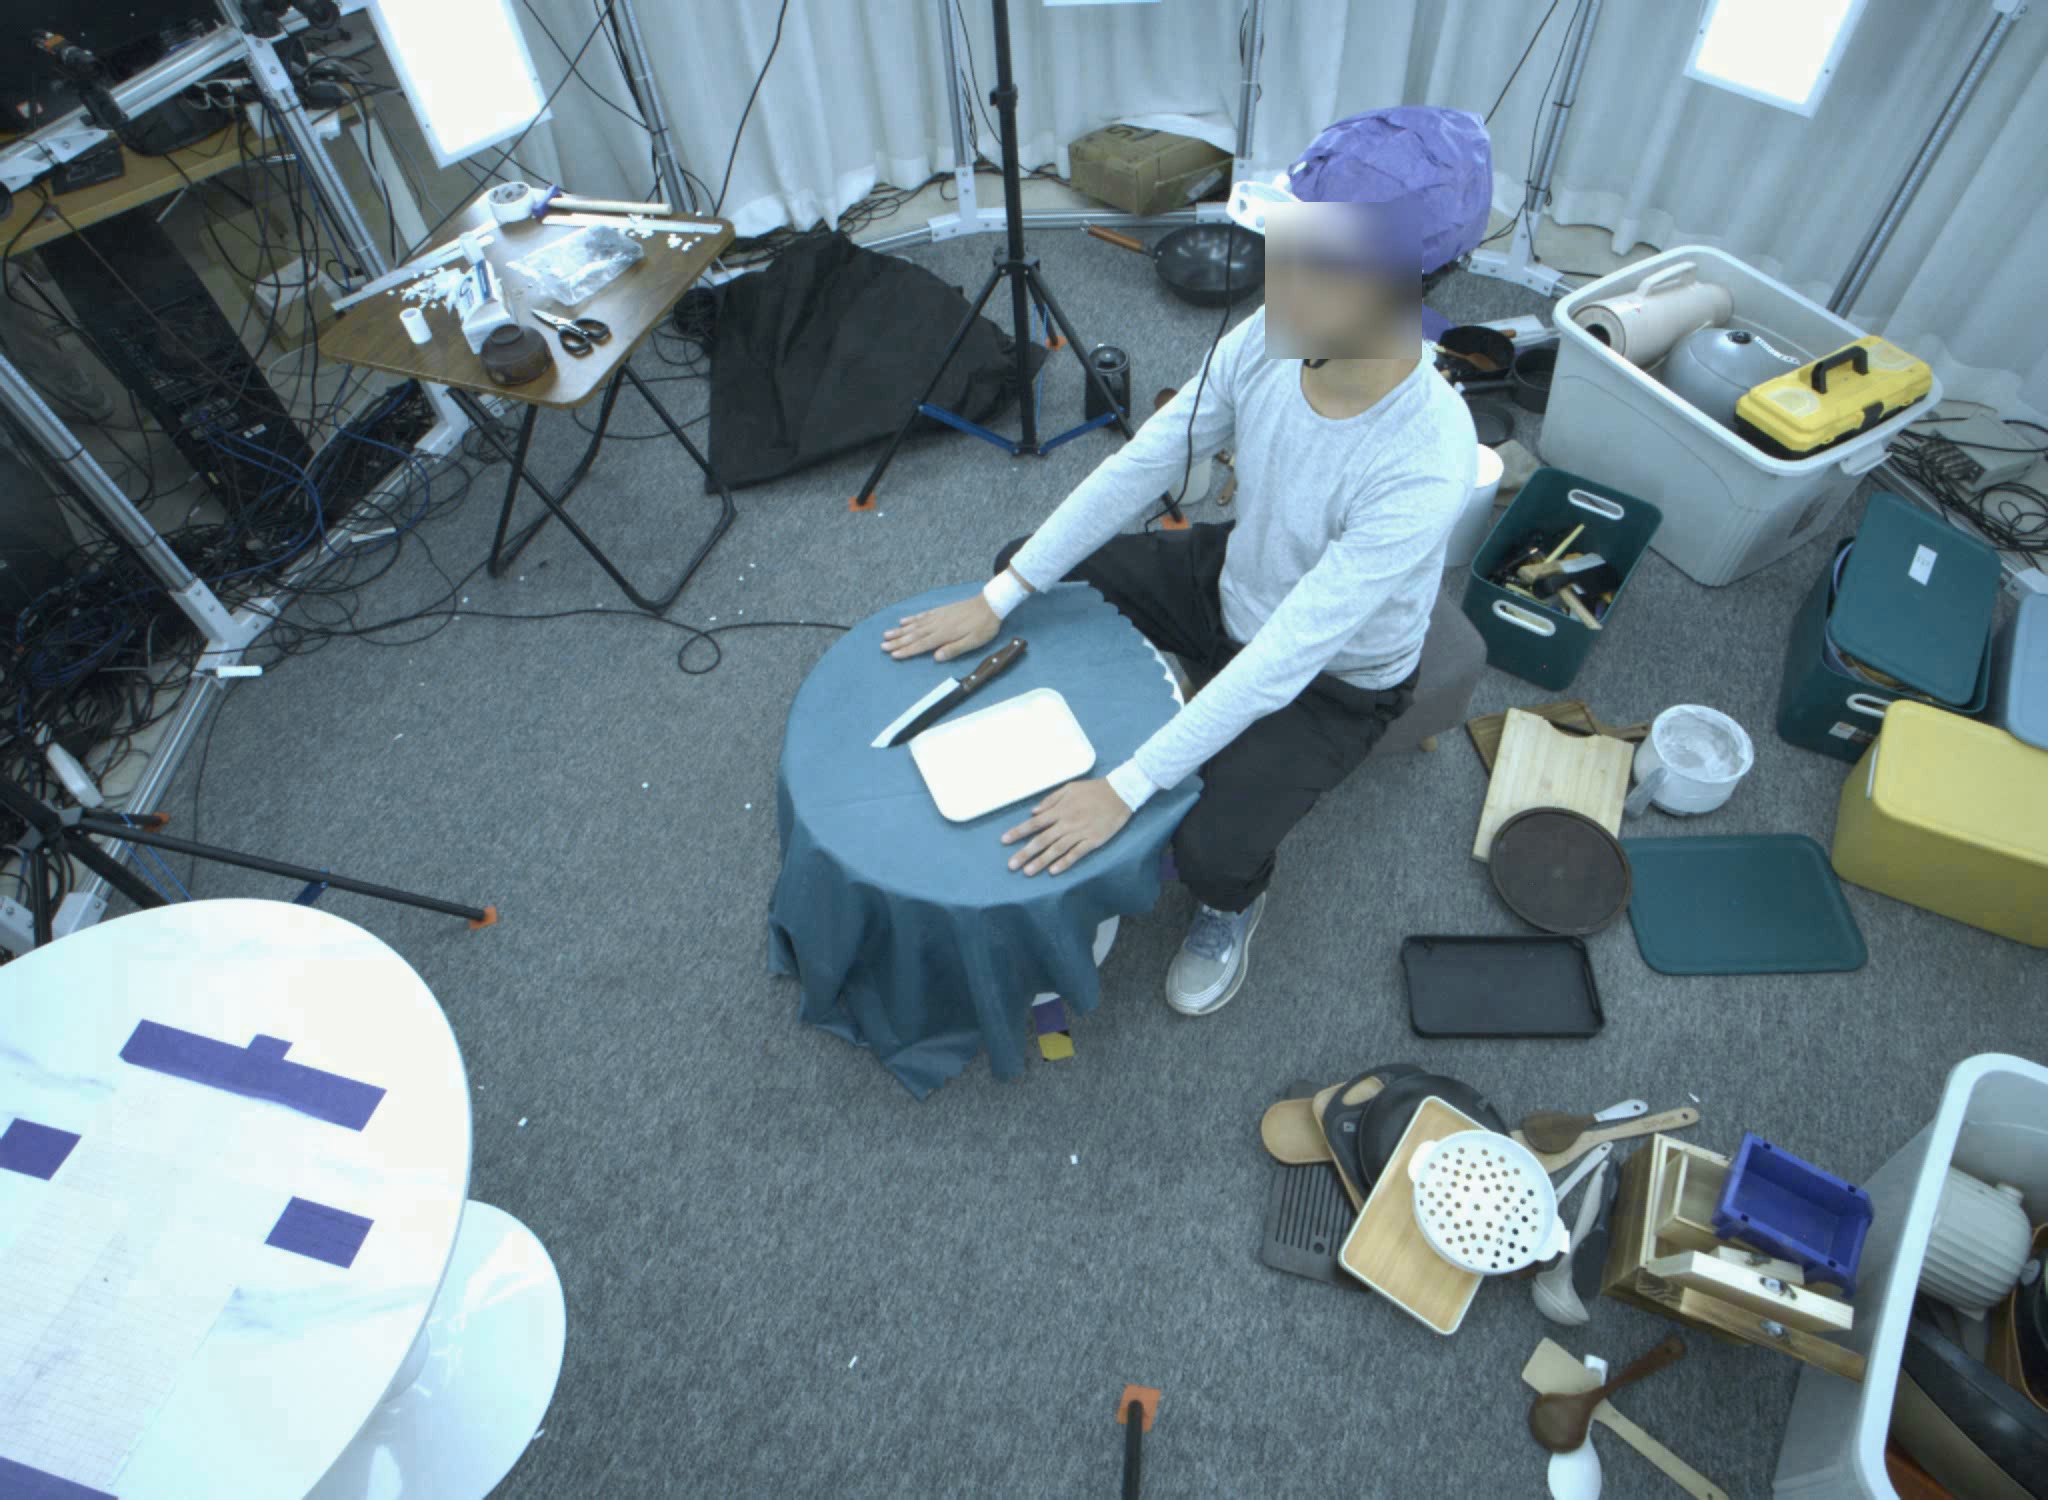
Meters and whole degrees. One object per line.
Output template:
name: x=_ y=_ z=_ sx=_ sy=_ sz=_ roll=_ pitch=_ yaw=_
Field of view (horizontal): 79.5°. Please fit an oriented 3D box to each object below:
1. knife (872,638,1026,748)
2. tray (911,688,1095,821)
knife: x=-0.112 y=-0.085 z=1.850 sx=0.291 sy=0.020 sz=0.049 roll=-37 pitch=56 yaw=-19
tray: x=-0.031 y=0.006 z=1.781 sx=0.241 sy=0.017 sz=0.168 roll=-20 pitch=57 yaw=-13
